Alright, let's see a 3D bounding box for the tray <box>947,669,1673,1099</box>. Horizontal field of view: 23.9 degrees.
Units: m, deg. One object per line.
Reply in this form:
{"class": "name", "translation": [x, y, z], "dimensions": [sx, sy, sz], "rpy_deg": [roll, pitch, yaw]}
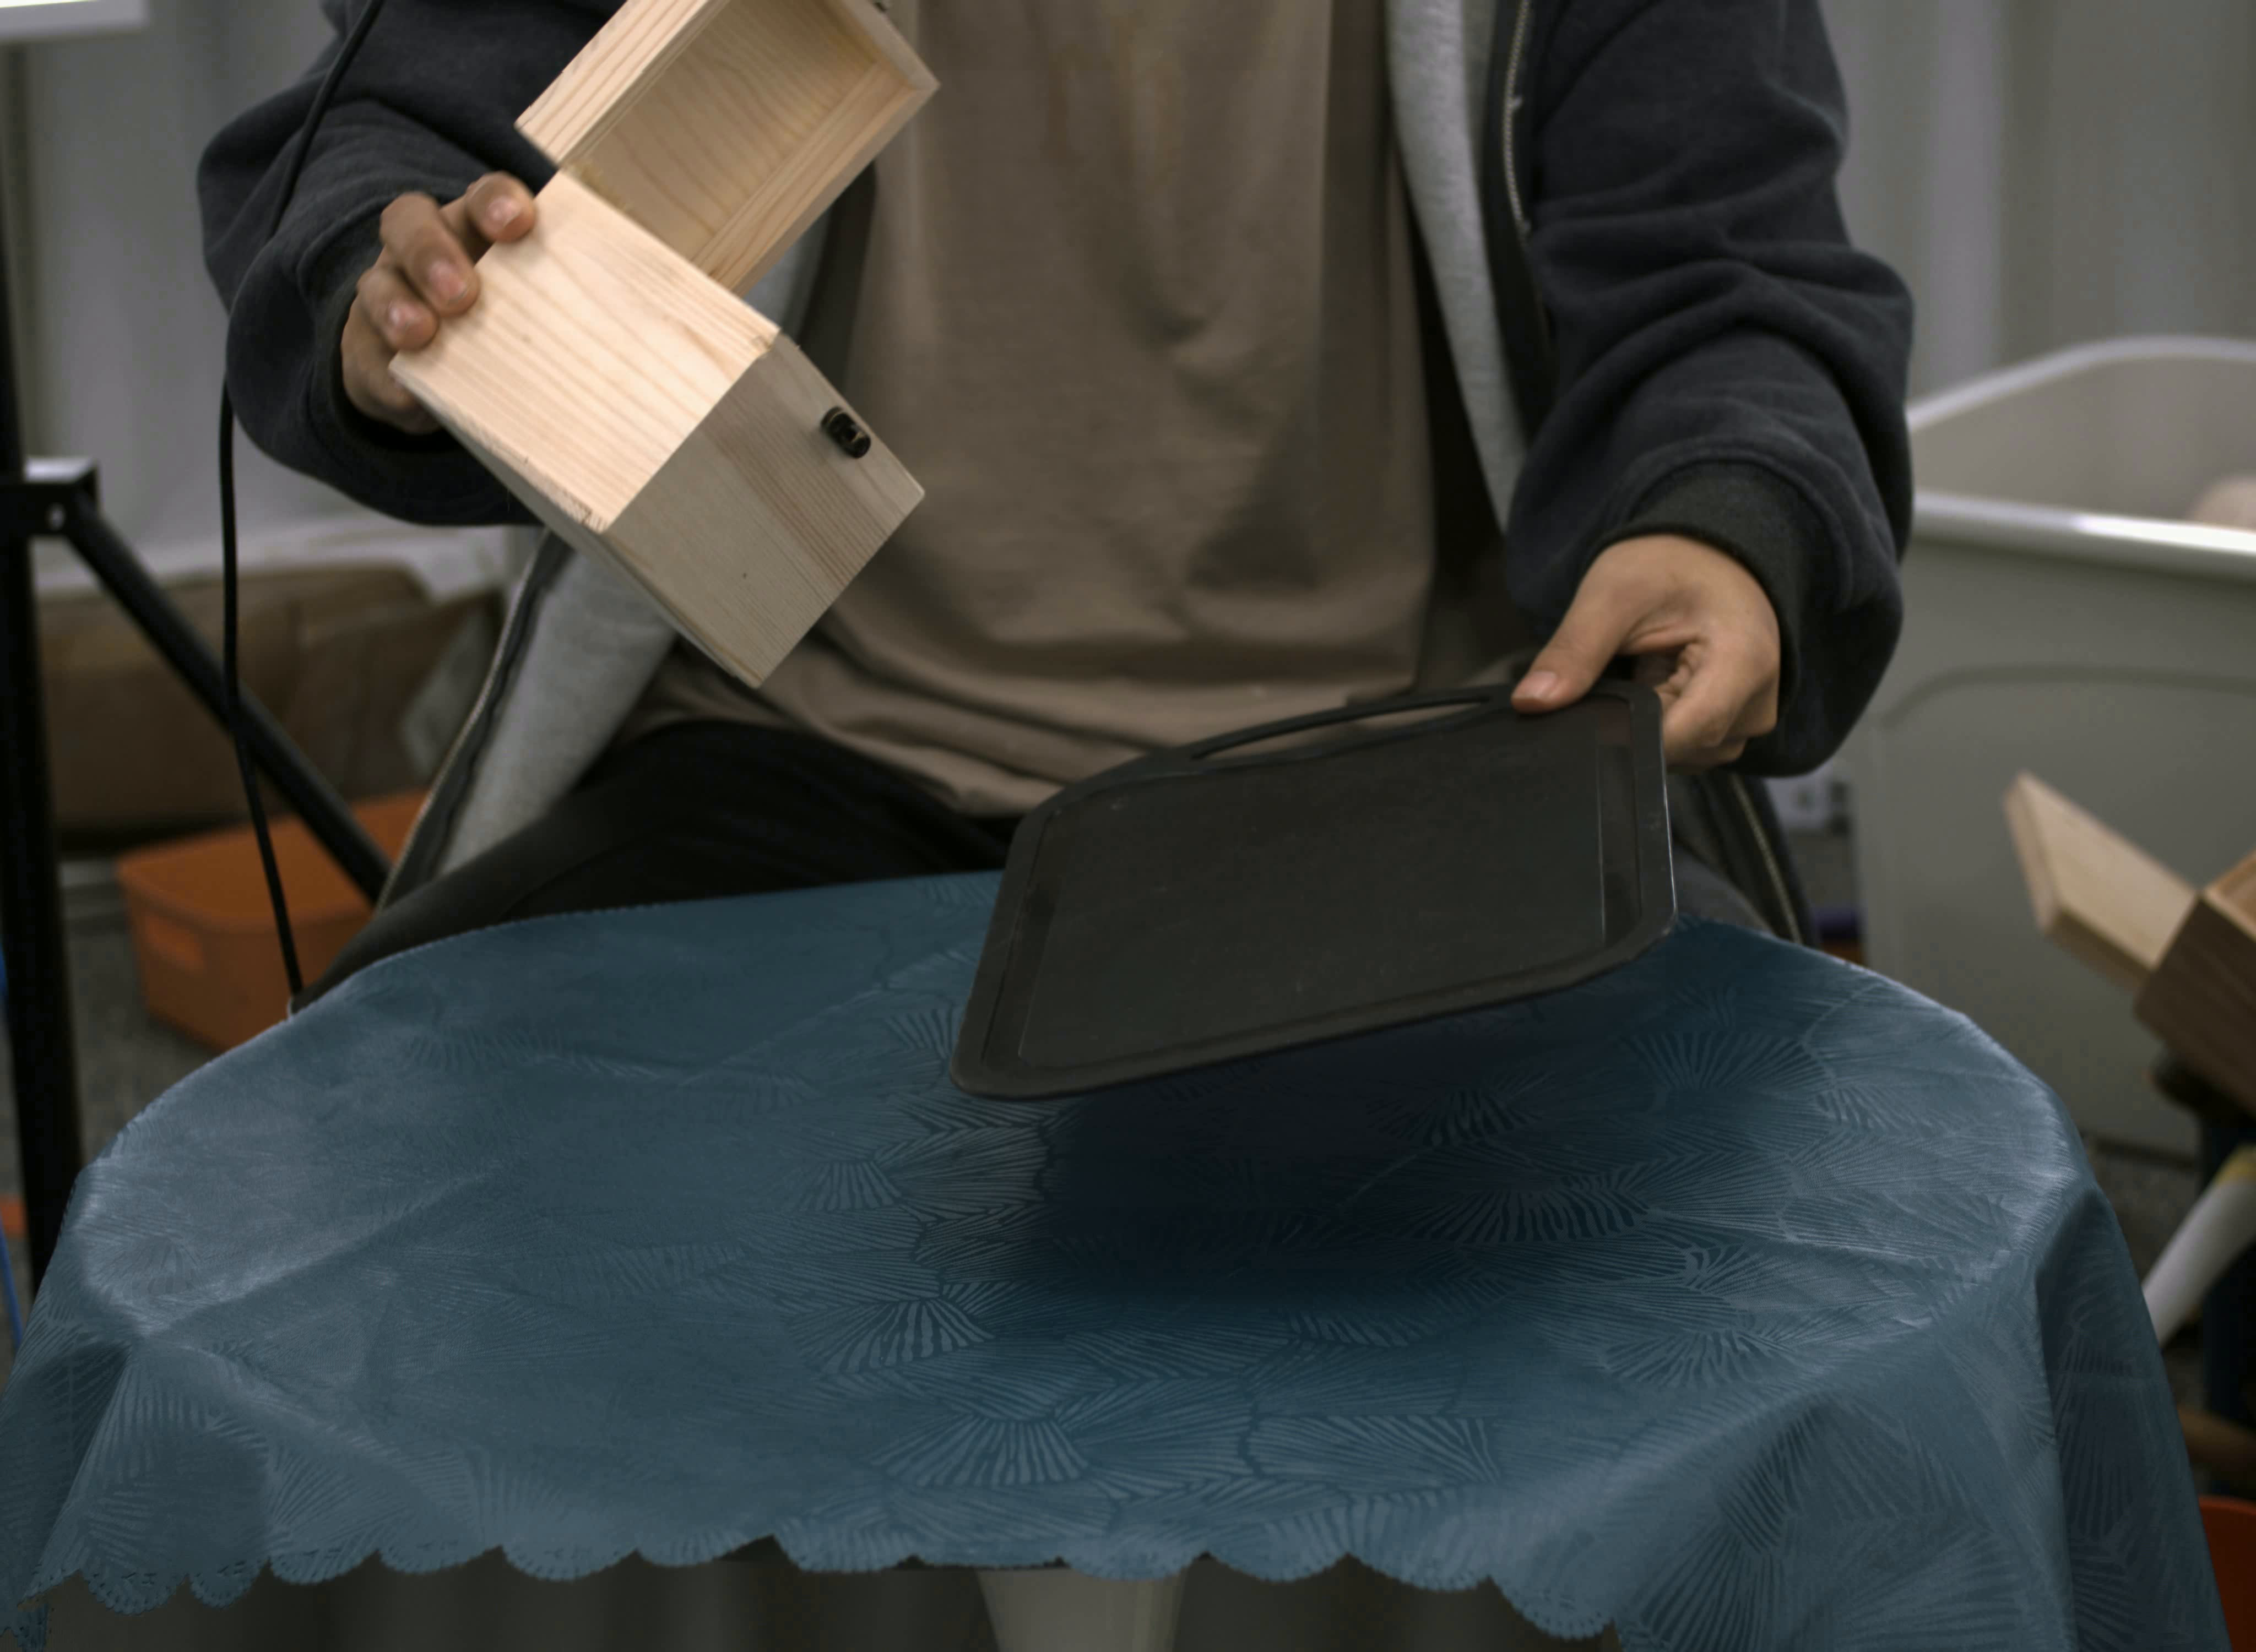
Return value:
{"class": "tray", "translation": [0.059, 0.010, 1.593], "dimensions": [0.212, 0.010, 0.325], "rpy_deg": [-12, 17, 9]}

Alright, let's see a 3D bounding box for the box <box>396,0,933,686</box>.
{"class": "box", "translation": [-0.108, -0.160, 1.556], "dimensions": [0.137, 0.184, 0.100], "rpy_deg": [35, -4, 35]}
